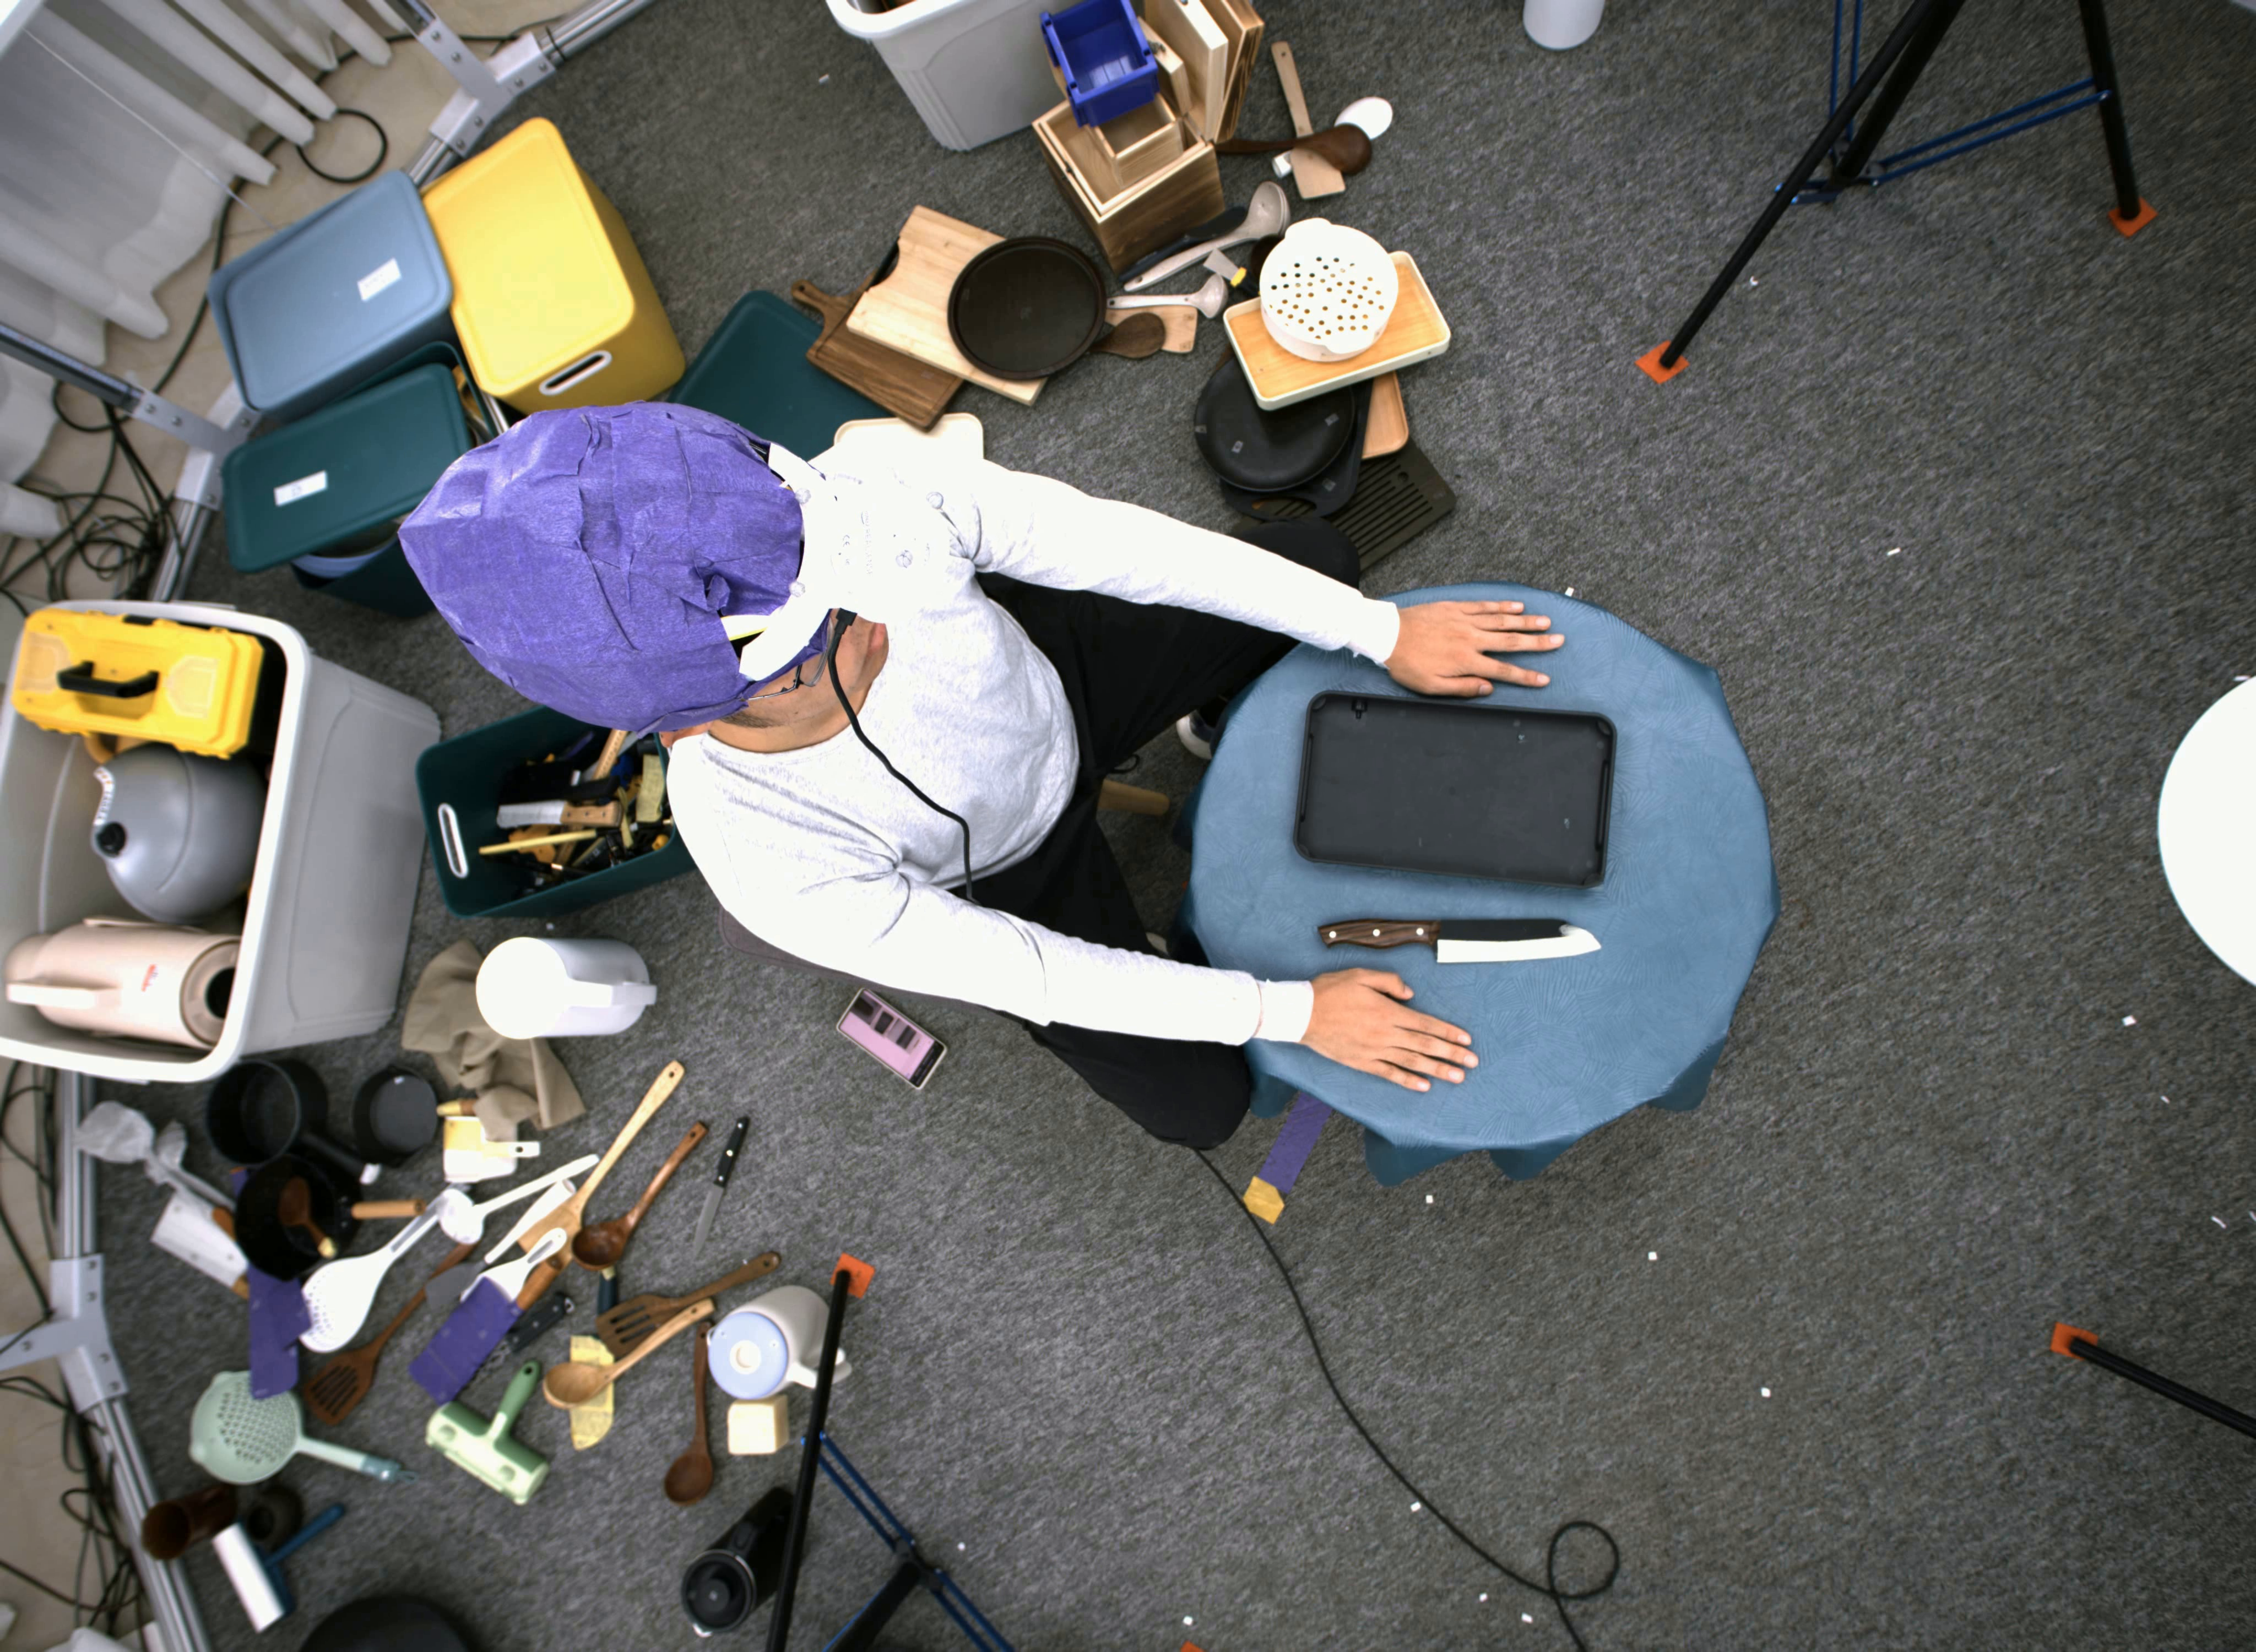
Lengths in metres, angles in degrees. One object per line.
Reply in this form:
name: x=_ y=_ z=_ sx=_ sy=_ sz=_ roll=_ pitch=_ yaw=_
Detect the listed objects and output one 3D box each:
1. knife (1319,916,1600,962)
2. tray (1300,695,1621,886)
knife: x=0.344 y=0.115 z=1.436 sx=0.290 sy=0.020 sz=0.050 roll=1 pitch=92 yaw=8
tray: x=0.344 y=-0.039 z=1.434 sx=0.319 sy=0.037 sz=0.183 roll=4 pitch=87 yaw=11
